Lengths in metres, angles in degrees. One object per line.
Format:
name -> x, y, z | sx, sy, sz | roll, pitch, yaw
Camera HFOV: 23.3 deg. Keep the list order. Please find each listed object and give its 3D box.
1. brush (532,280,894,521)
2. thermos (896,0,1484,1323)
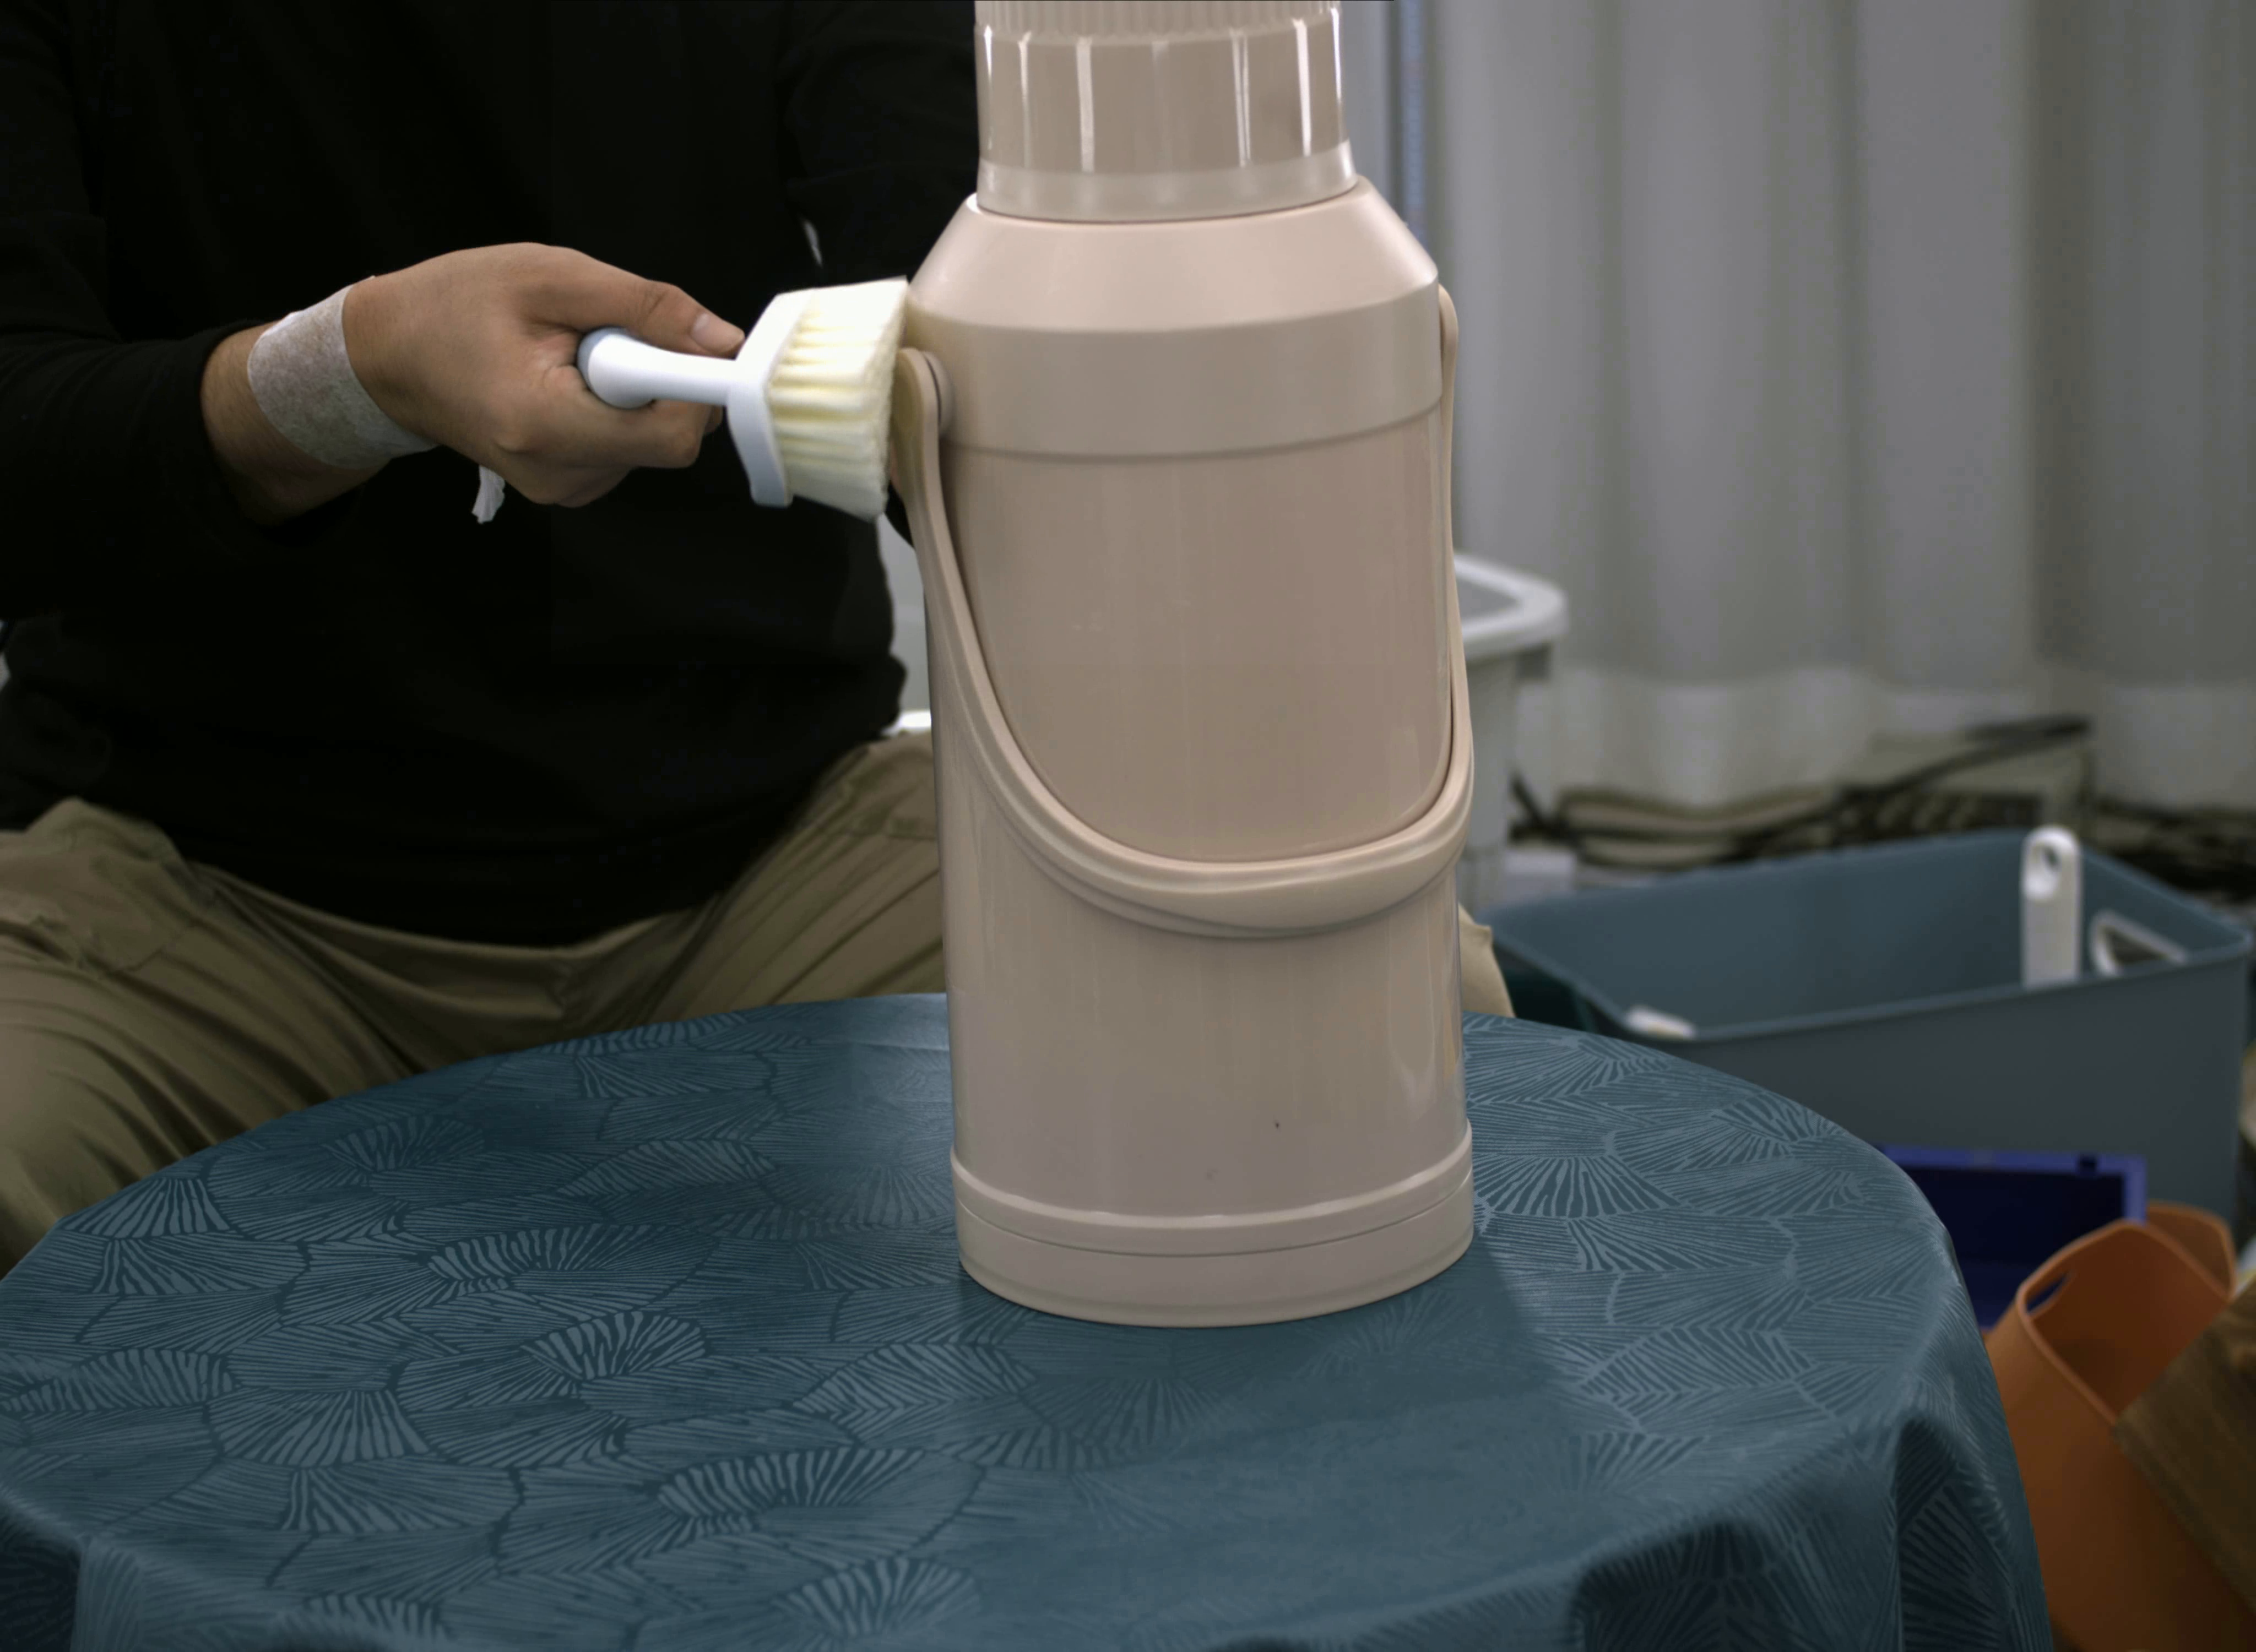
brush -> -0.113, -0.139, 1.684 | 0.083, 0.084, 0.327 | -46, 14, -4
thermos -> 0.015, -0.069, 1.635 | 0.174, 0.404, 0.208 | -11, 16, -24
